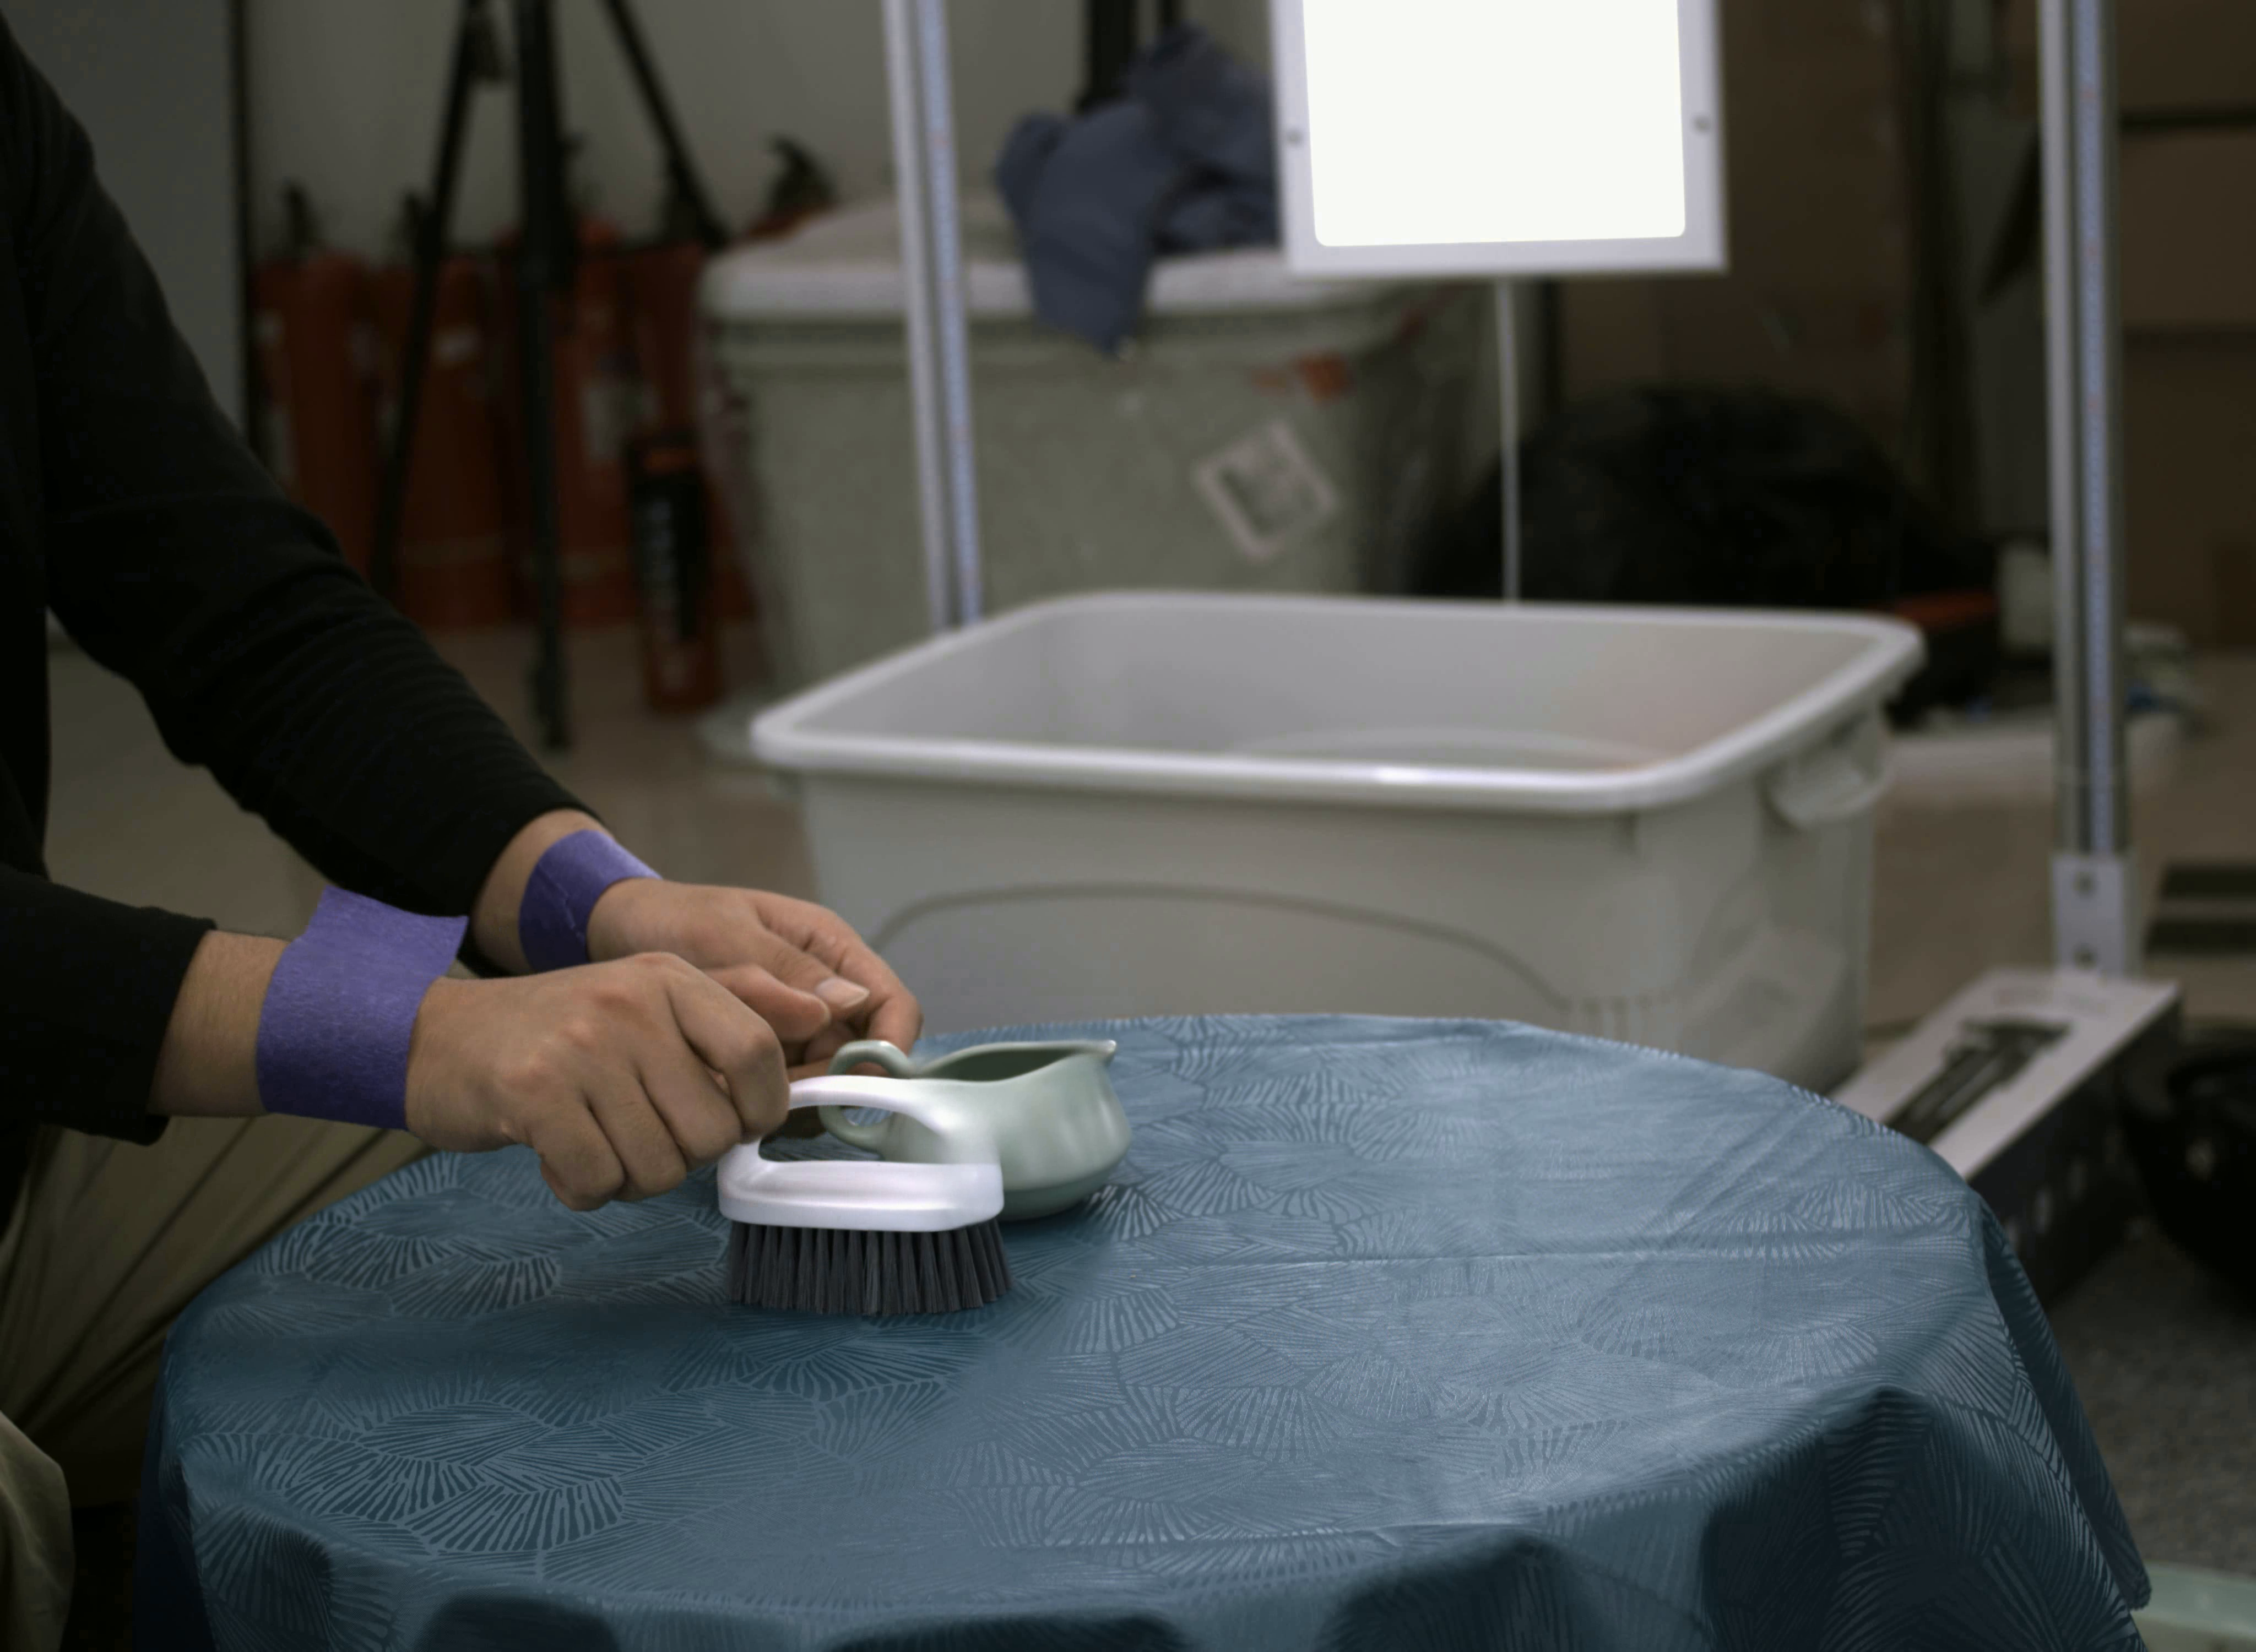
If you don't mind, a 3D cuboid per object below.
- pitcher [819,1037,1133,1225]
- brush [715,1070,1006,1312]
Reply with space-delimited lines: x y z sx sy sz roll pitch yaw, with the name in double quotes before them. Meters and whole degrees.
"pitcher" -0.053 0.104 1.894 0.108 0.060 0.085 -5 13 10
"brush" -0.089 0.116 1.811 0.101 0.073 0.049 3 14 24
